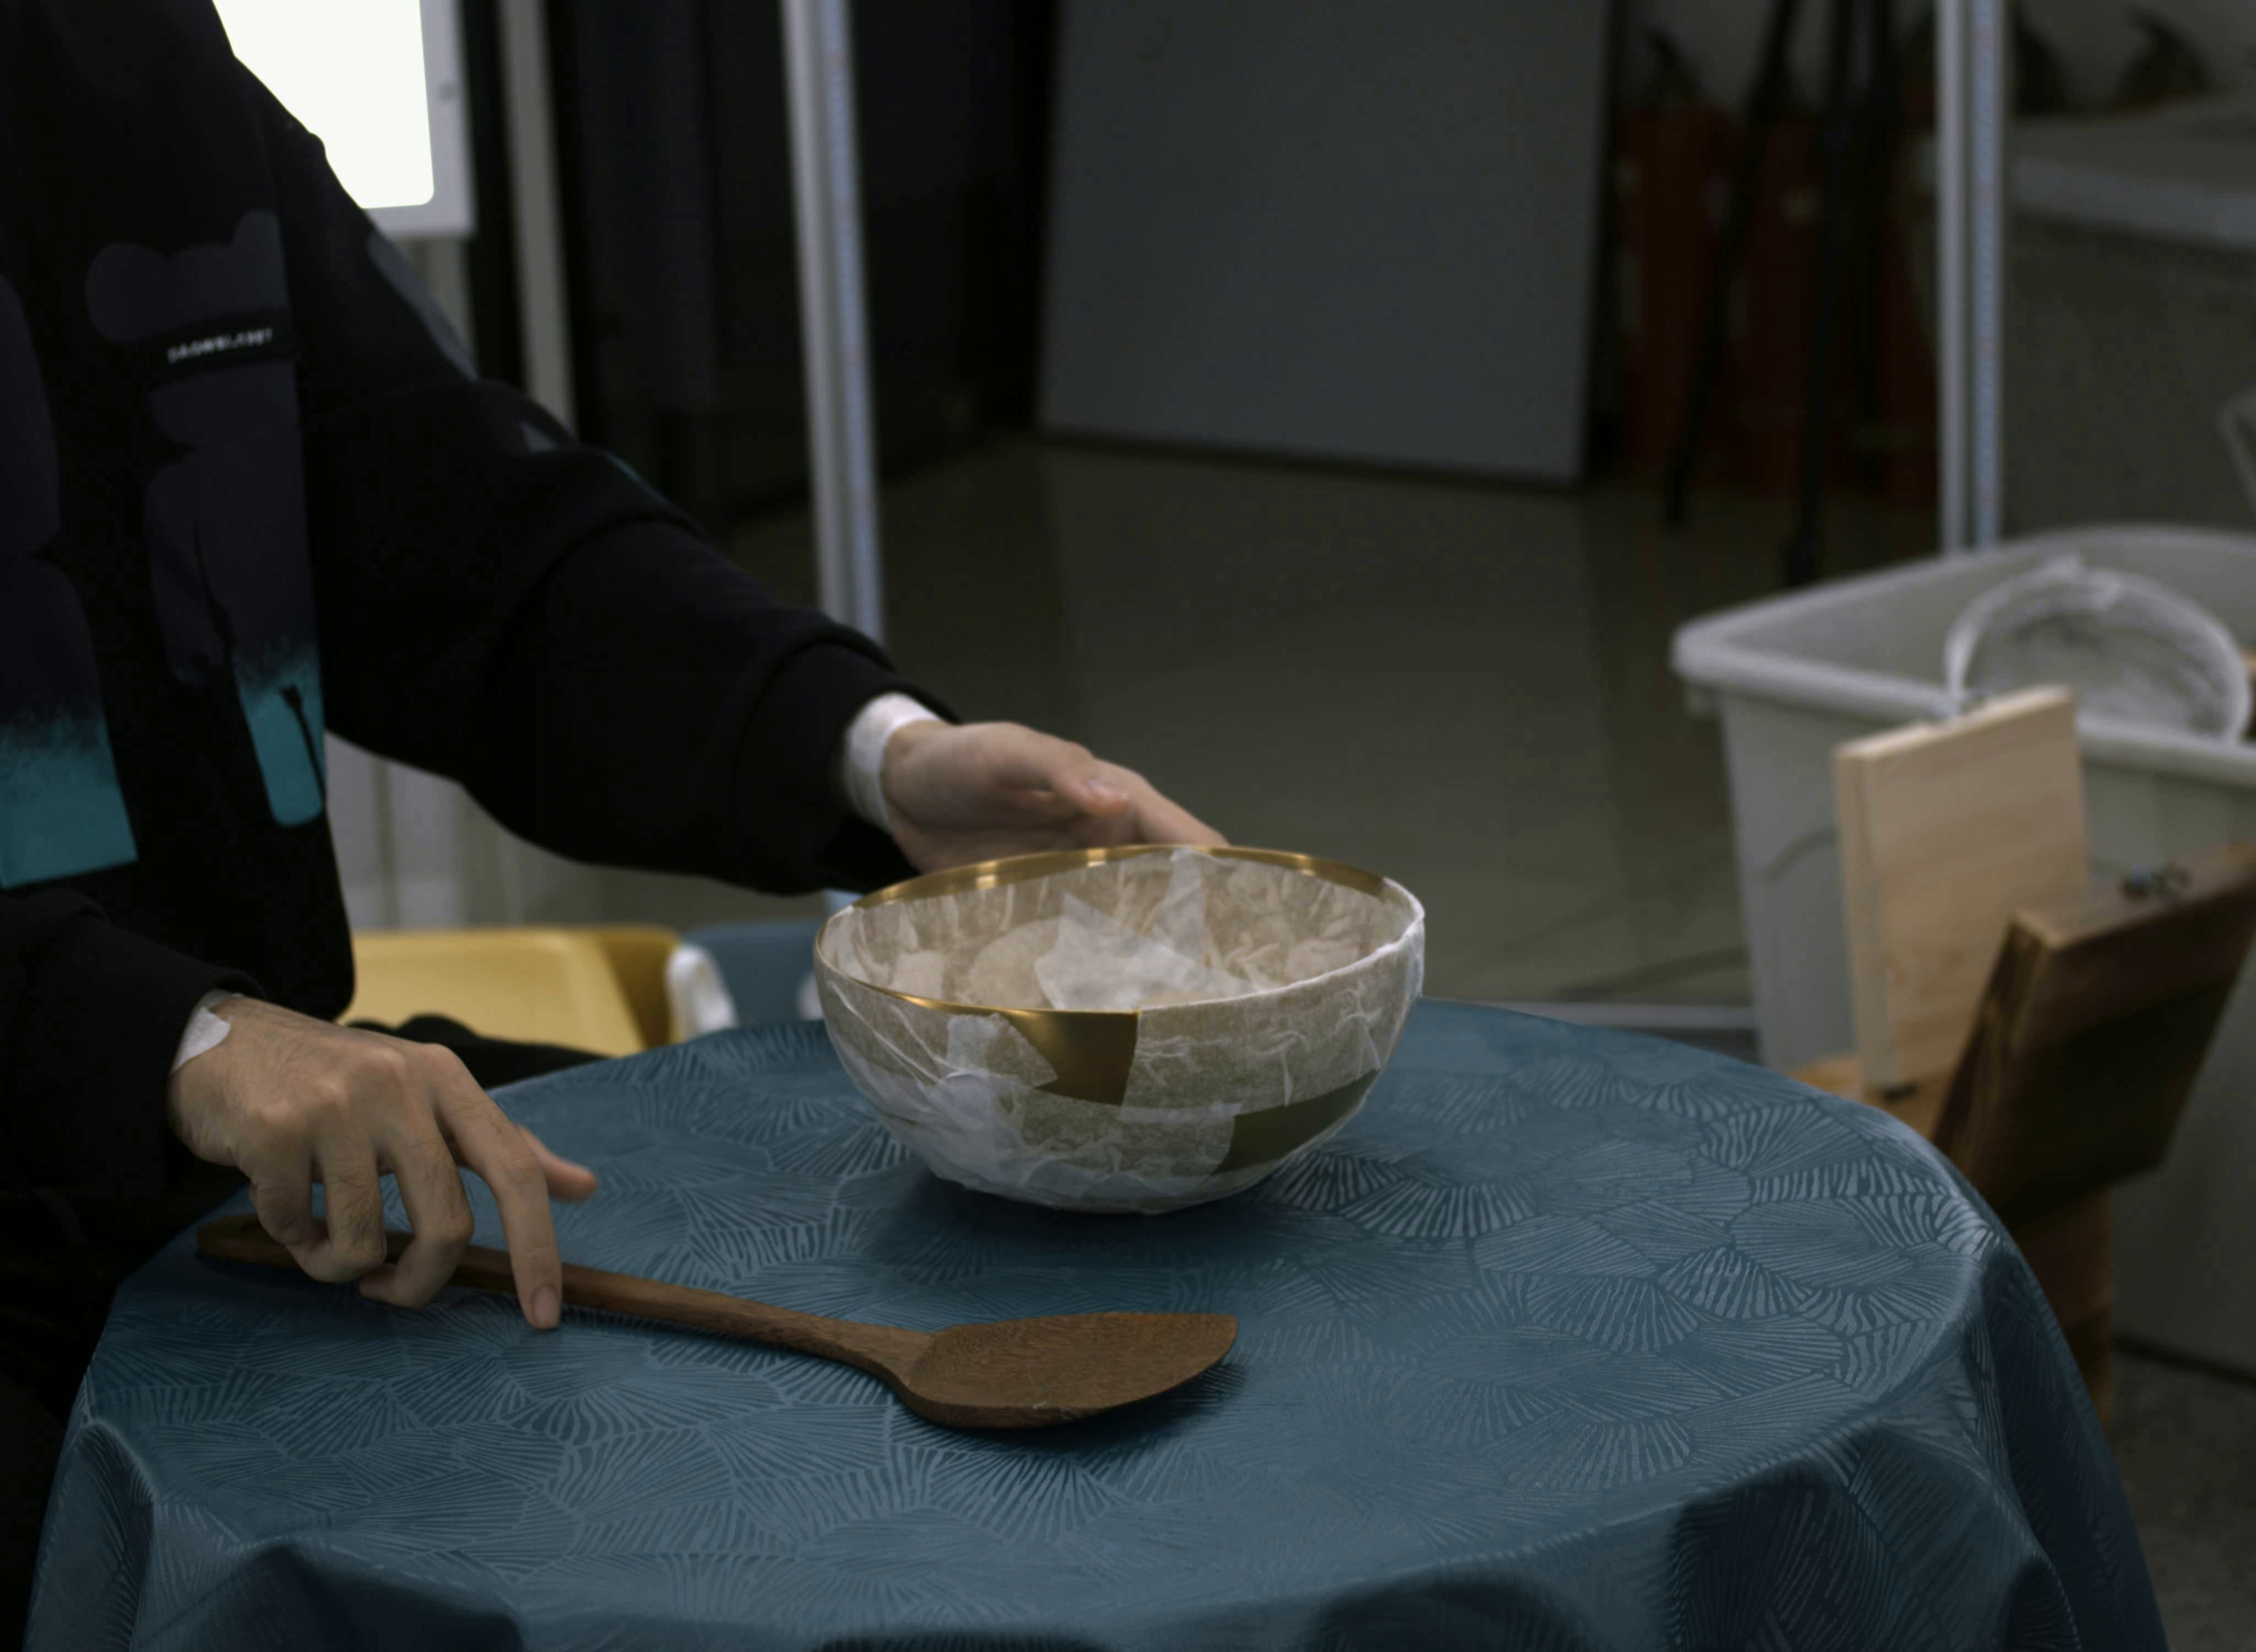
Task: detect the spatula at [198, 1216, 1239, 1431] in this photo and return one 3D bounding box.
[{"bbox_3d":[-0.141,0.149,1.668,0.388,0.016,0.094,6,16,33],"label":"spatula"}]

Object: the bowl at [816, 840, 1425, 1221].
[{"bbox_3d":[-0.001,0.074,1.770,0.212,0.095,0.215,-6,14,0],"label":"bowl"}]
